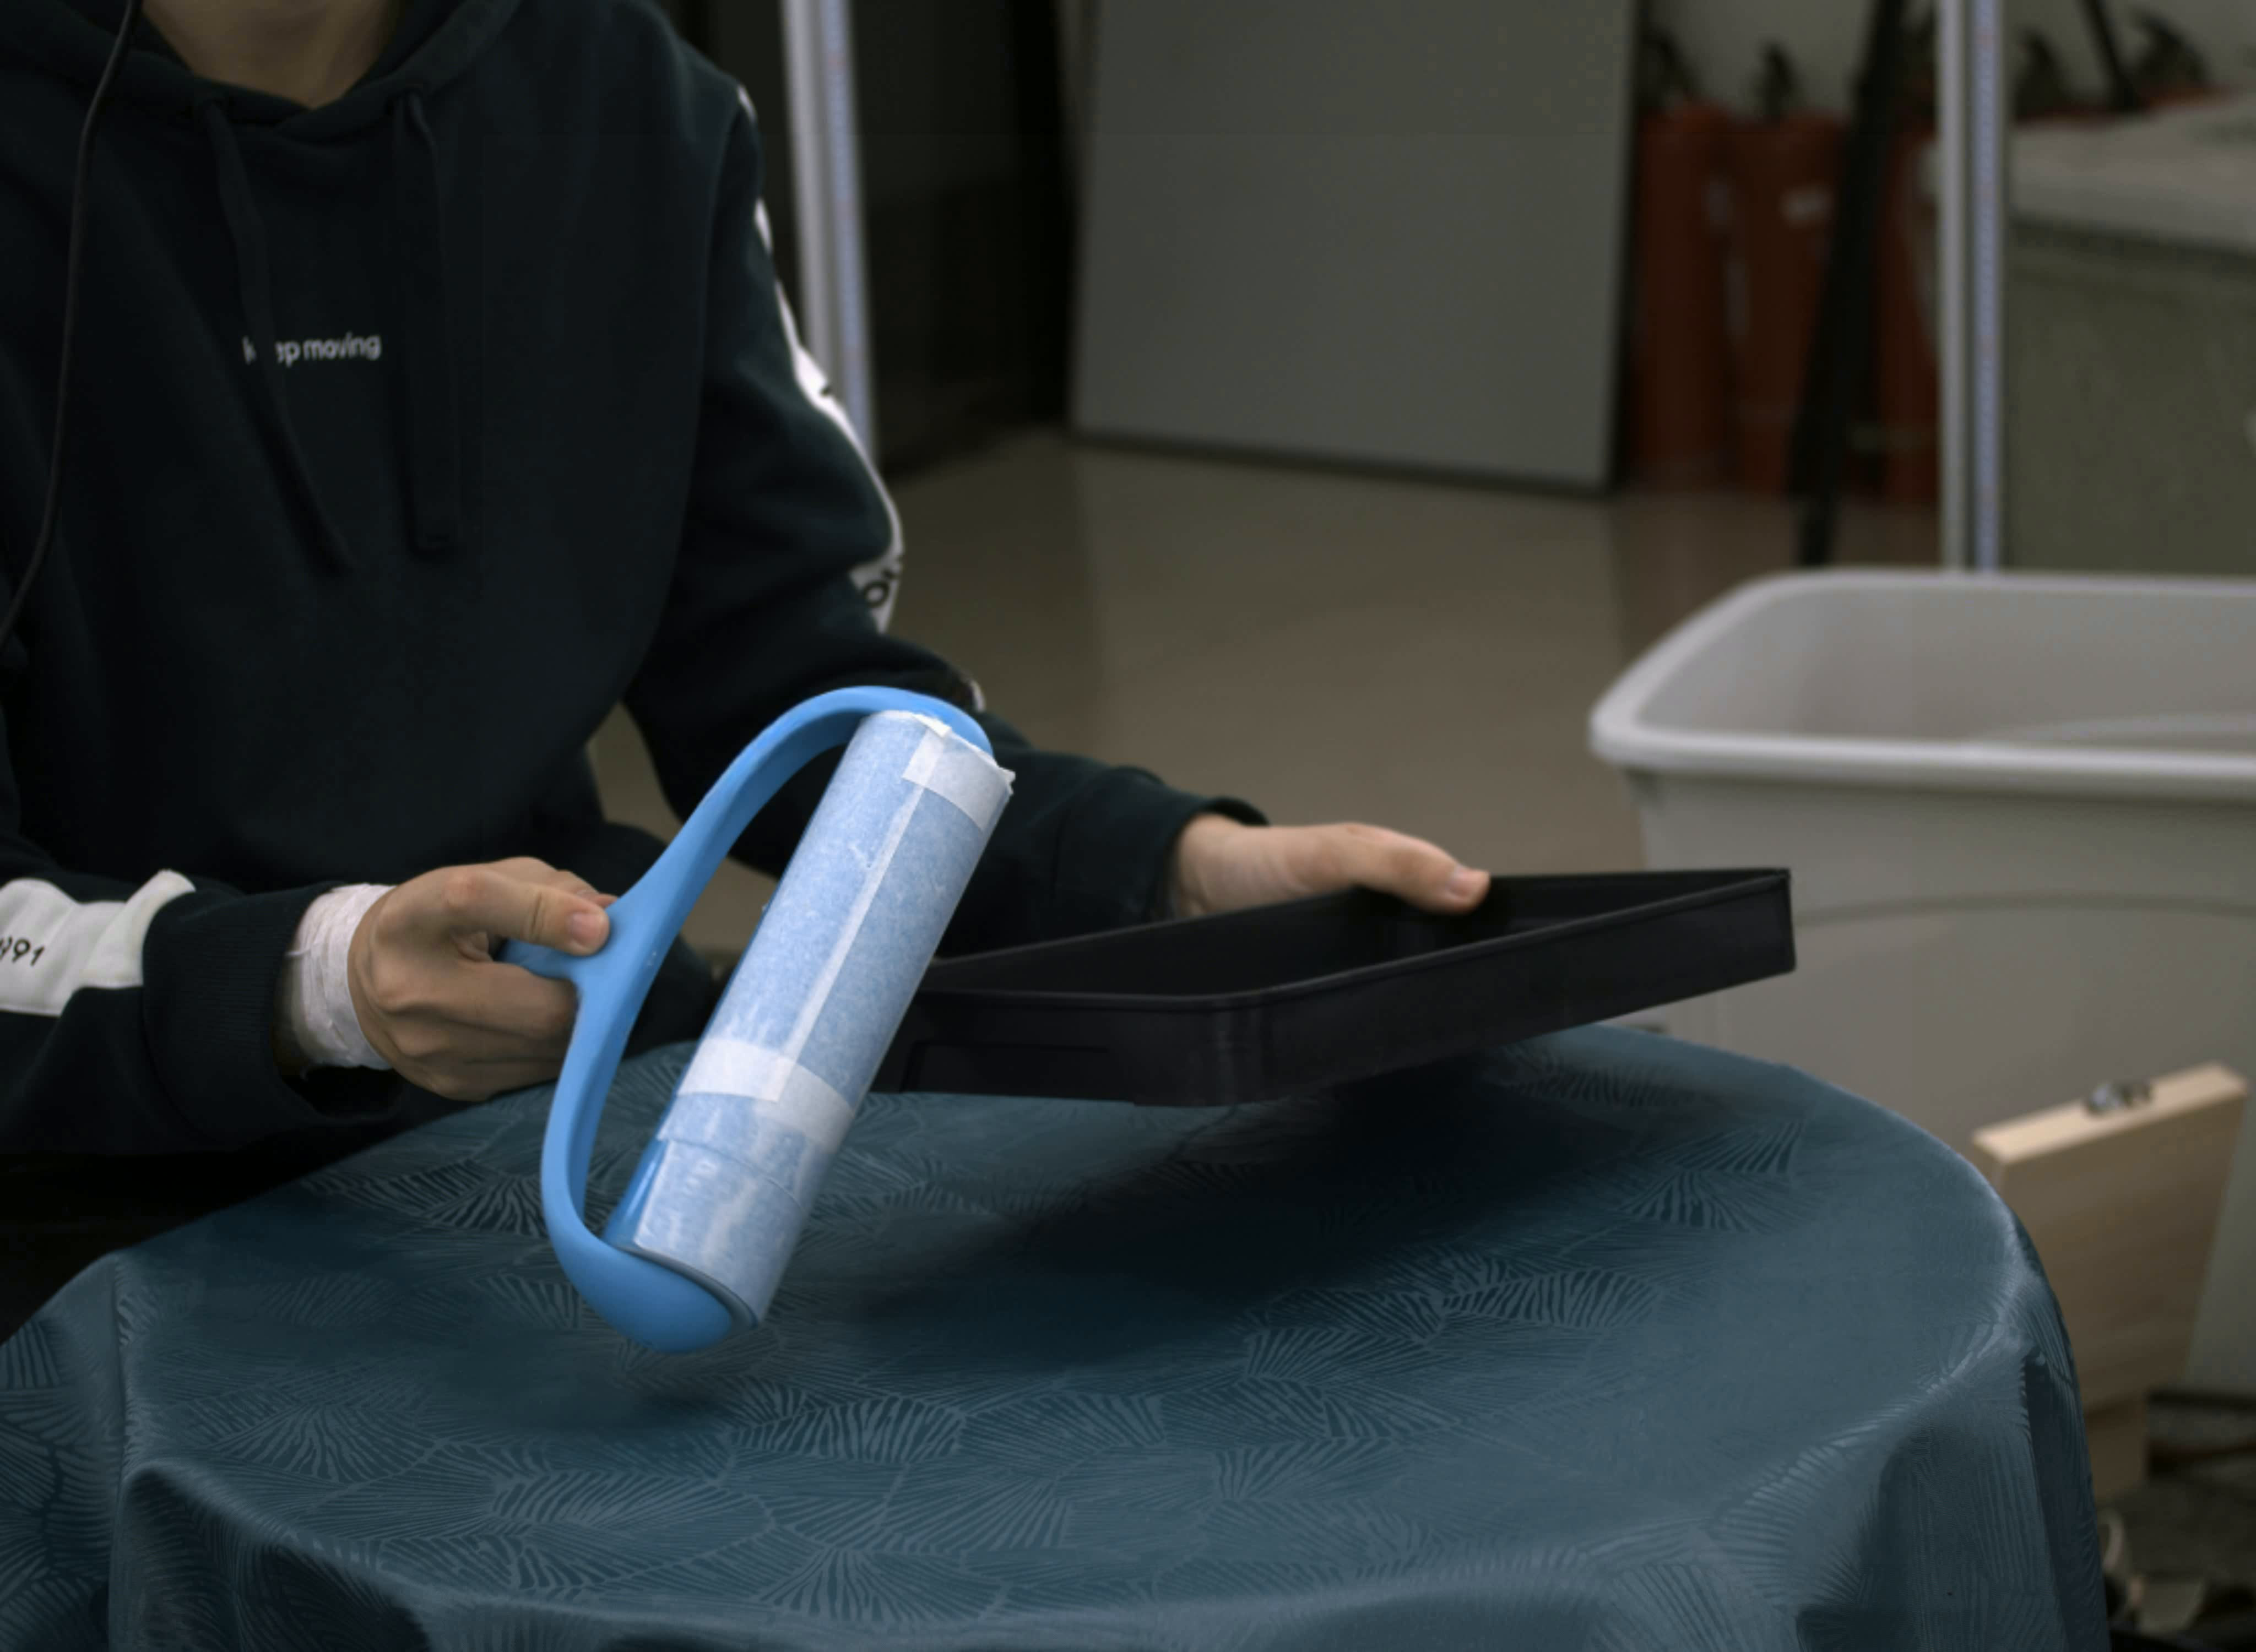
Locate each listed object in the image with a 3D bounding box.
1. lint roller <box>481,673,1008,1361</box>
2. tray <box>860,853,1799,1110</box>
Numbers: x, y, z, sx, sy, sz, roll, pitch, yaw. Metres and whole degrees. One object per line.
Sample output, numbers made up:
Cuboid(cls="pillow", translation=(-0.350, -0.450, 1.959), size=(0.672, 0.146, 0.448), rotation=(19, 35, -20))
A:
Cuboid(cls="lint roller", translation=(-0.145, 0.054, 1.671), size=(0.181, 0.230, 0.067), rotation=(2, -30, 35))
Cuboid(cls="tray", translation=(0.069, 0.050, 1.761), size=(0.186, 0.037, 0.311), rotation=(-3, 5, 41))
